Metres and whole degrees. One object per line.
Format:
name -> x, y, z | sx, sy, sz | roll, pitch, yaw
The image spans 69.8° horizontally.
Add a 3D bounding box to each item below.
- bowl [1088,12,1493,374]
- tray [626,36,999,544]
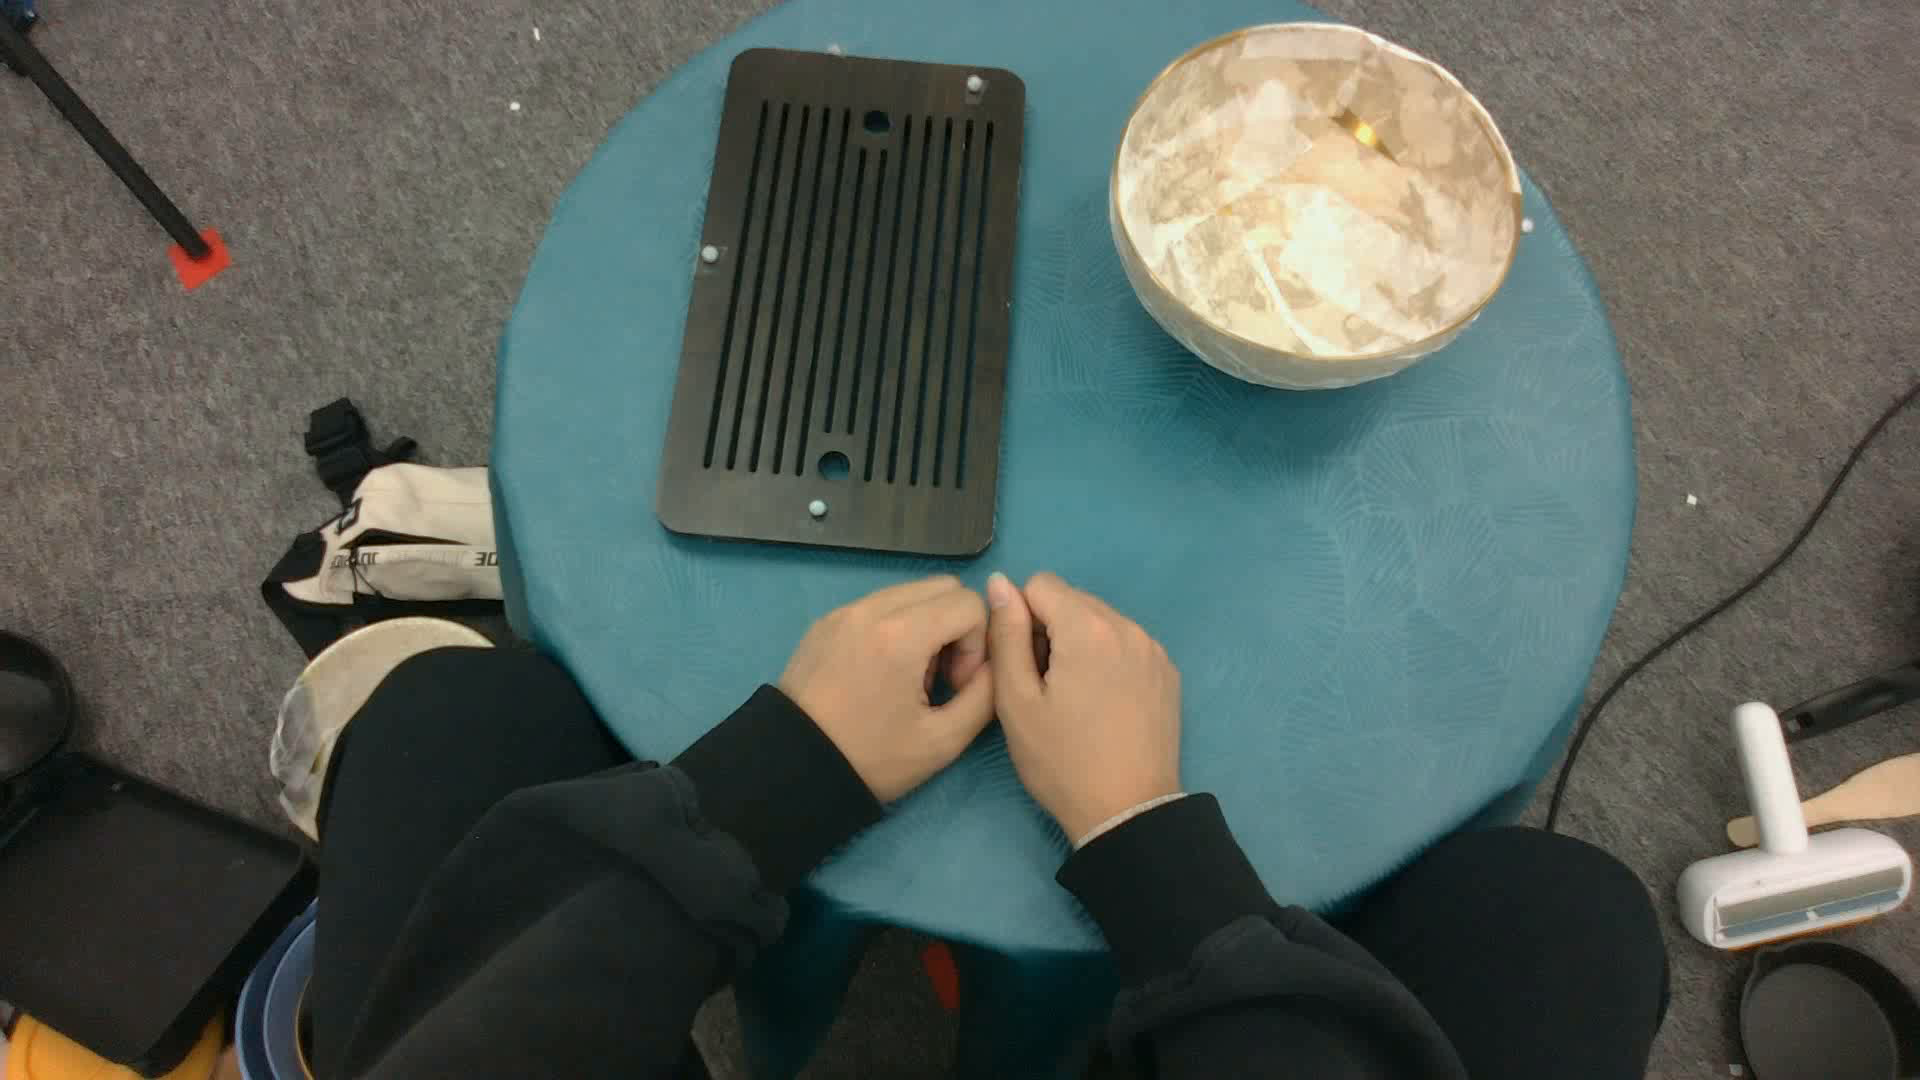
bowl -> 0.159, -0.165, 0.720 | 0.215, 0.094, 0.215 | 1, 67, -3
tray -> -0.072, -0.142, 0.739 | 0.170, 0.018, 0.307 | 5, 67, -1
